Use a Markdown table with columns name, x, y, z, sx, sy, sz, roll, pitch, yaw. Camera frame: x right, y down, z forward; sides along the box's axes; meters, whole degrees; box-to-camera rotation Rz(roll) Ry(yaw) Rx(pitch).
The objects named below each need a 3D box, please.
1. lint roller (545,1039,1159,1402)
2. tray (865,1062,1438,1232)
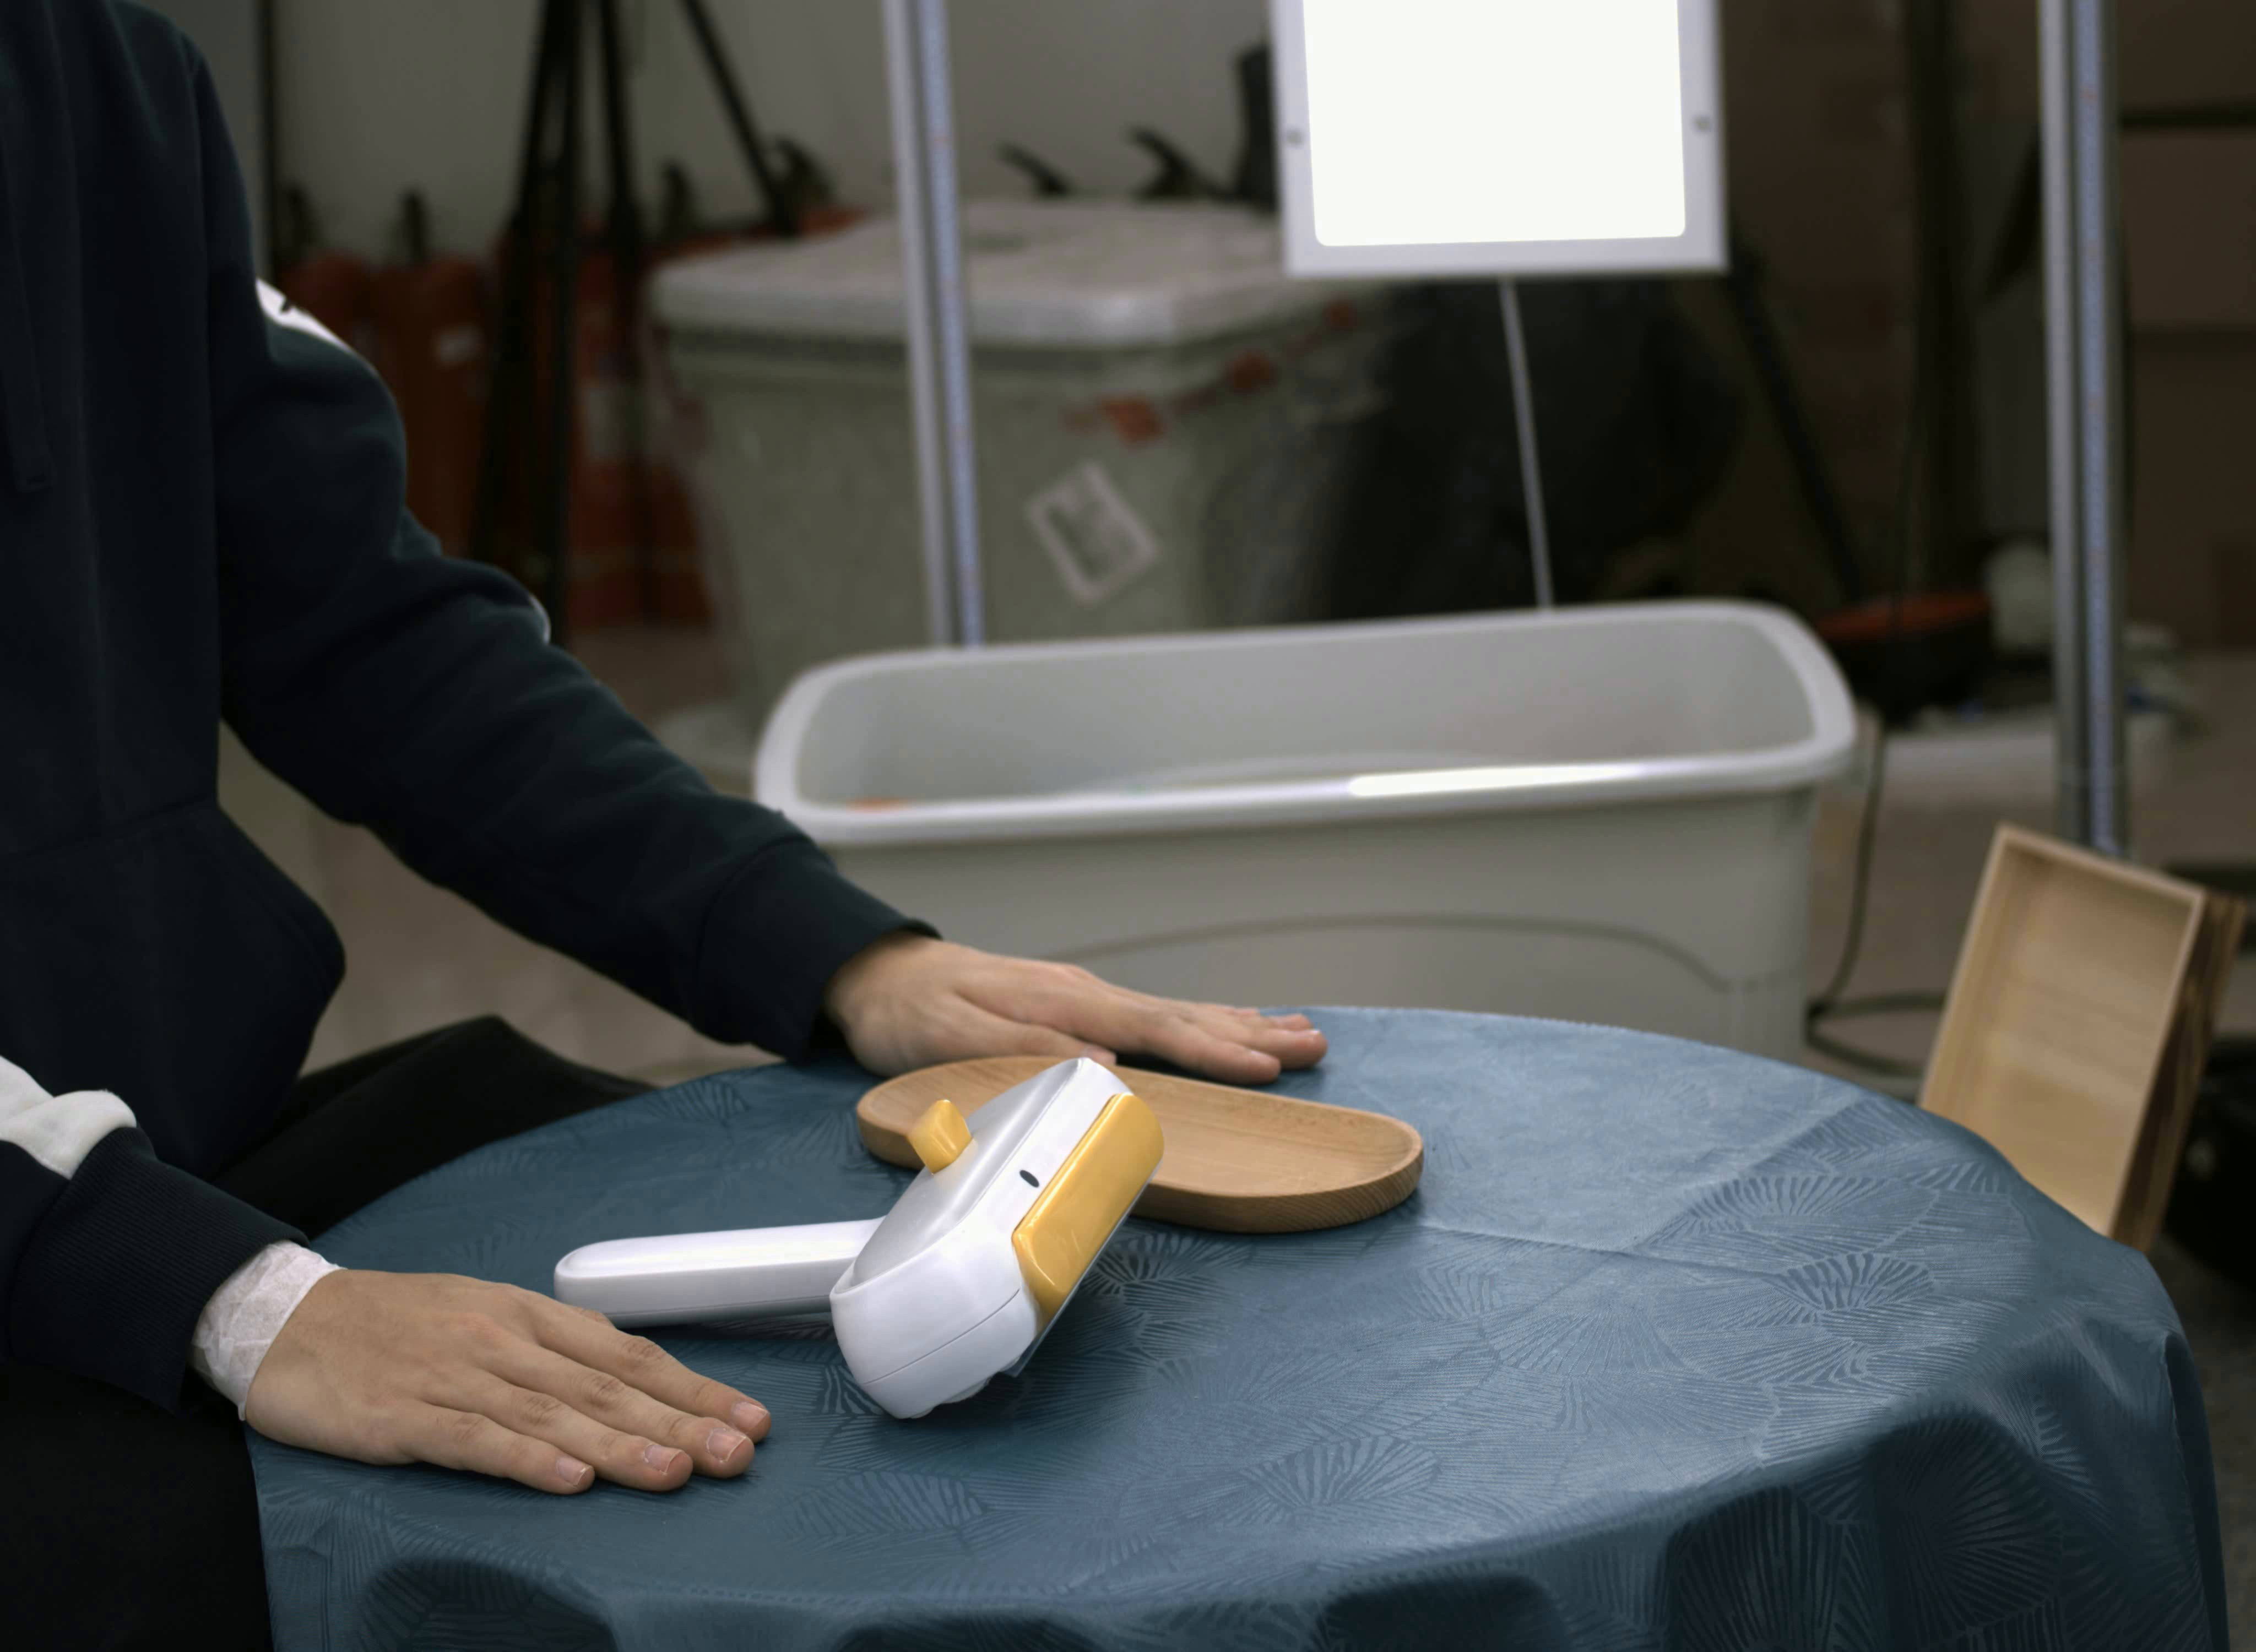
| name | x | y | z | sx | sy | sz | roll | pitch | yaw |
| --- | --- | --- | --- | --- | --- | --- | --- | --- | --- |
| lint roller | -0.094 | 0.139 | 1.776 | 0.195 | 0.074 | 0.191 | -21 | 15 | 18 |
| tray | 0.006 | 0.111 | 1.921 | 0.236 | 0.020 | 0.099 | 9 | 20 | 41 |
